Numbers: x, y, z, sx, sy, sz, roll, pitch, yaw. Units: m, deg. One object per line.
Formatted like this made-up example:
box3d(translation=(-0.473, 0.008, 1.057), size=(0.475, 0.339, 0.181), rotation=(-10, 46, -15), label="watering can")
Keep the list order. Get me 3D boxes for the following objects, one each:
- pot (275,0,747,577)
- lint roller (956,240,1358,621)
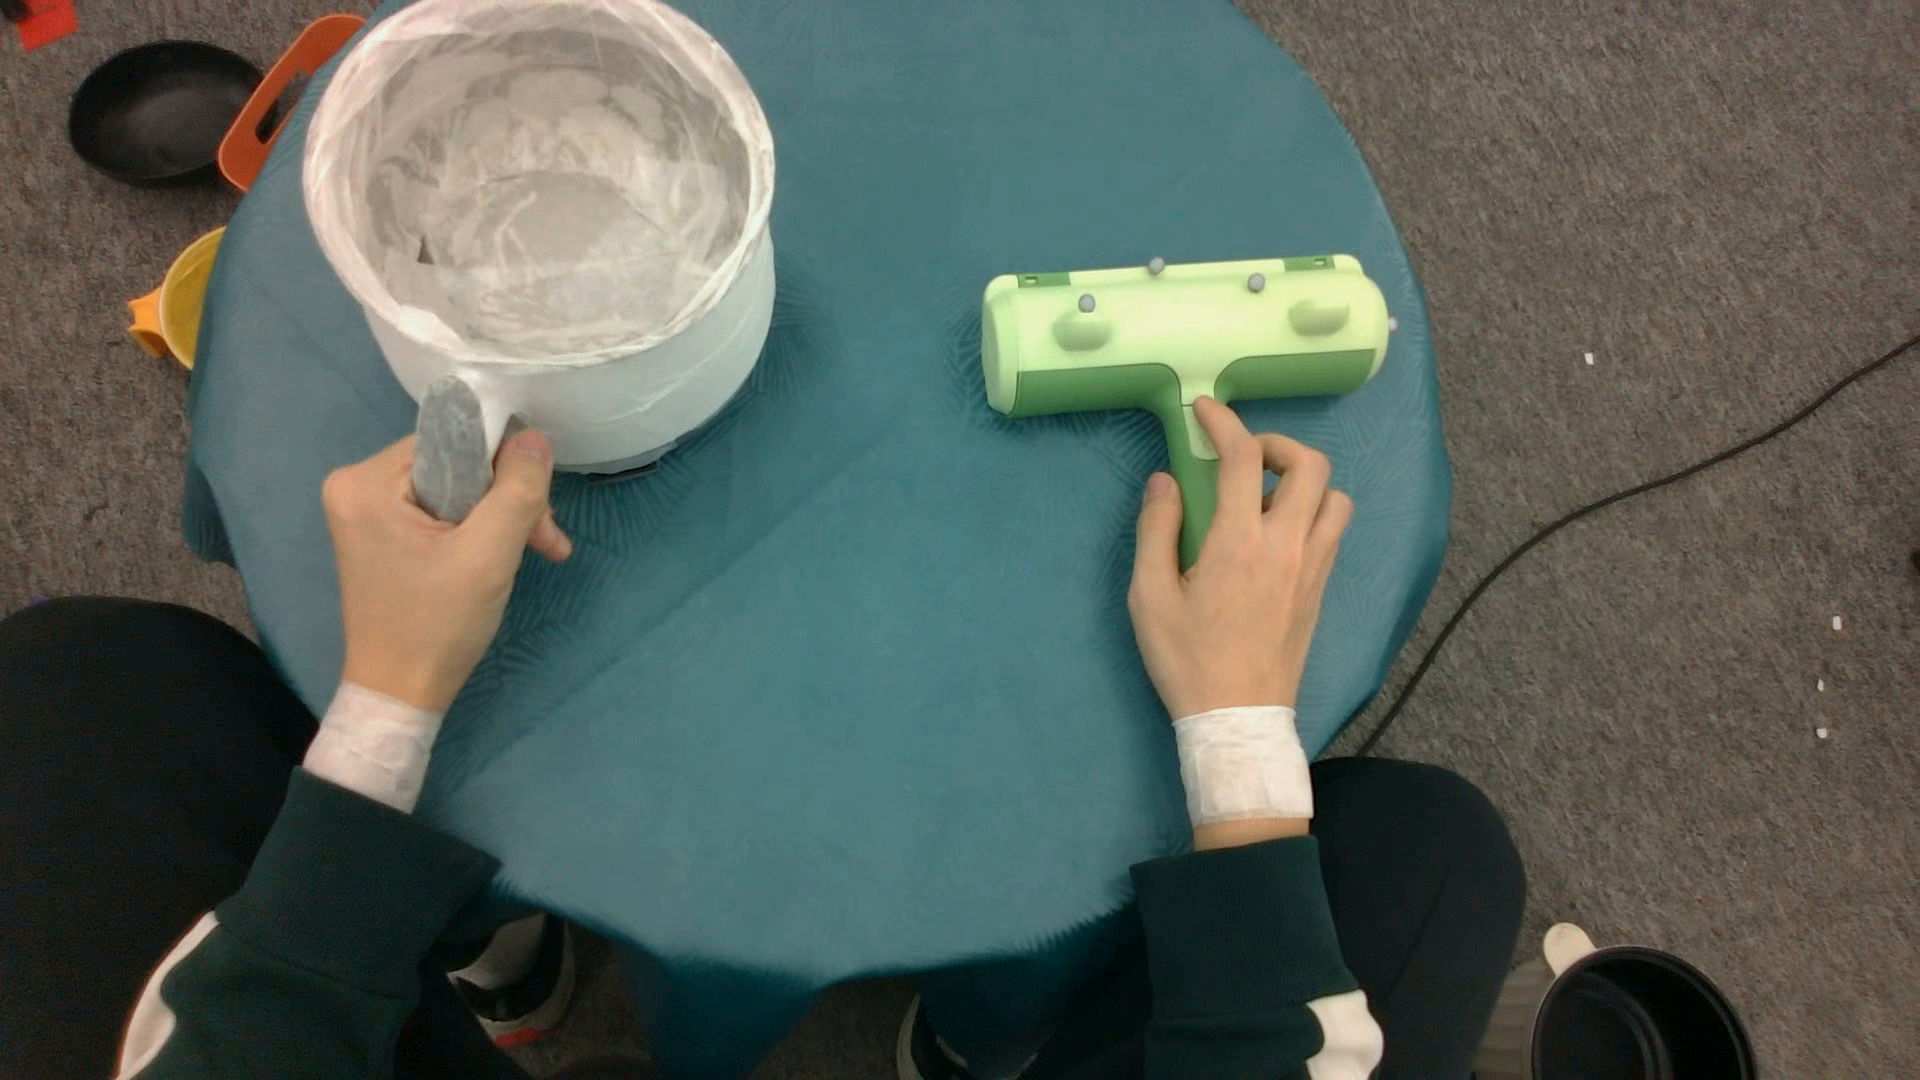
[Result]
box3d(translation=(-0.188, -0.104, 0.589), size=(0.179, 0.136, 0.234), rotation=(13, 70, -3), label="pot")
box3d(translation=(0.107, -0.058, 0.653), size=(0.199, 0.082, 0.184), rotation=(-6, 68, -11), label="lint roller")
